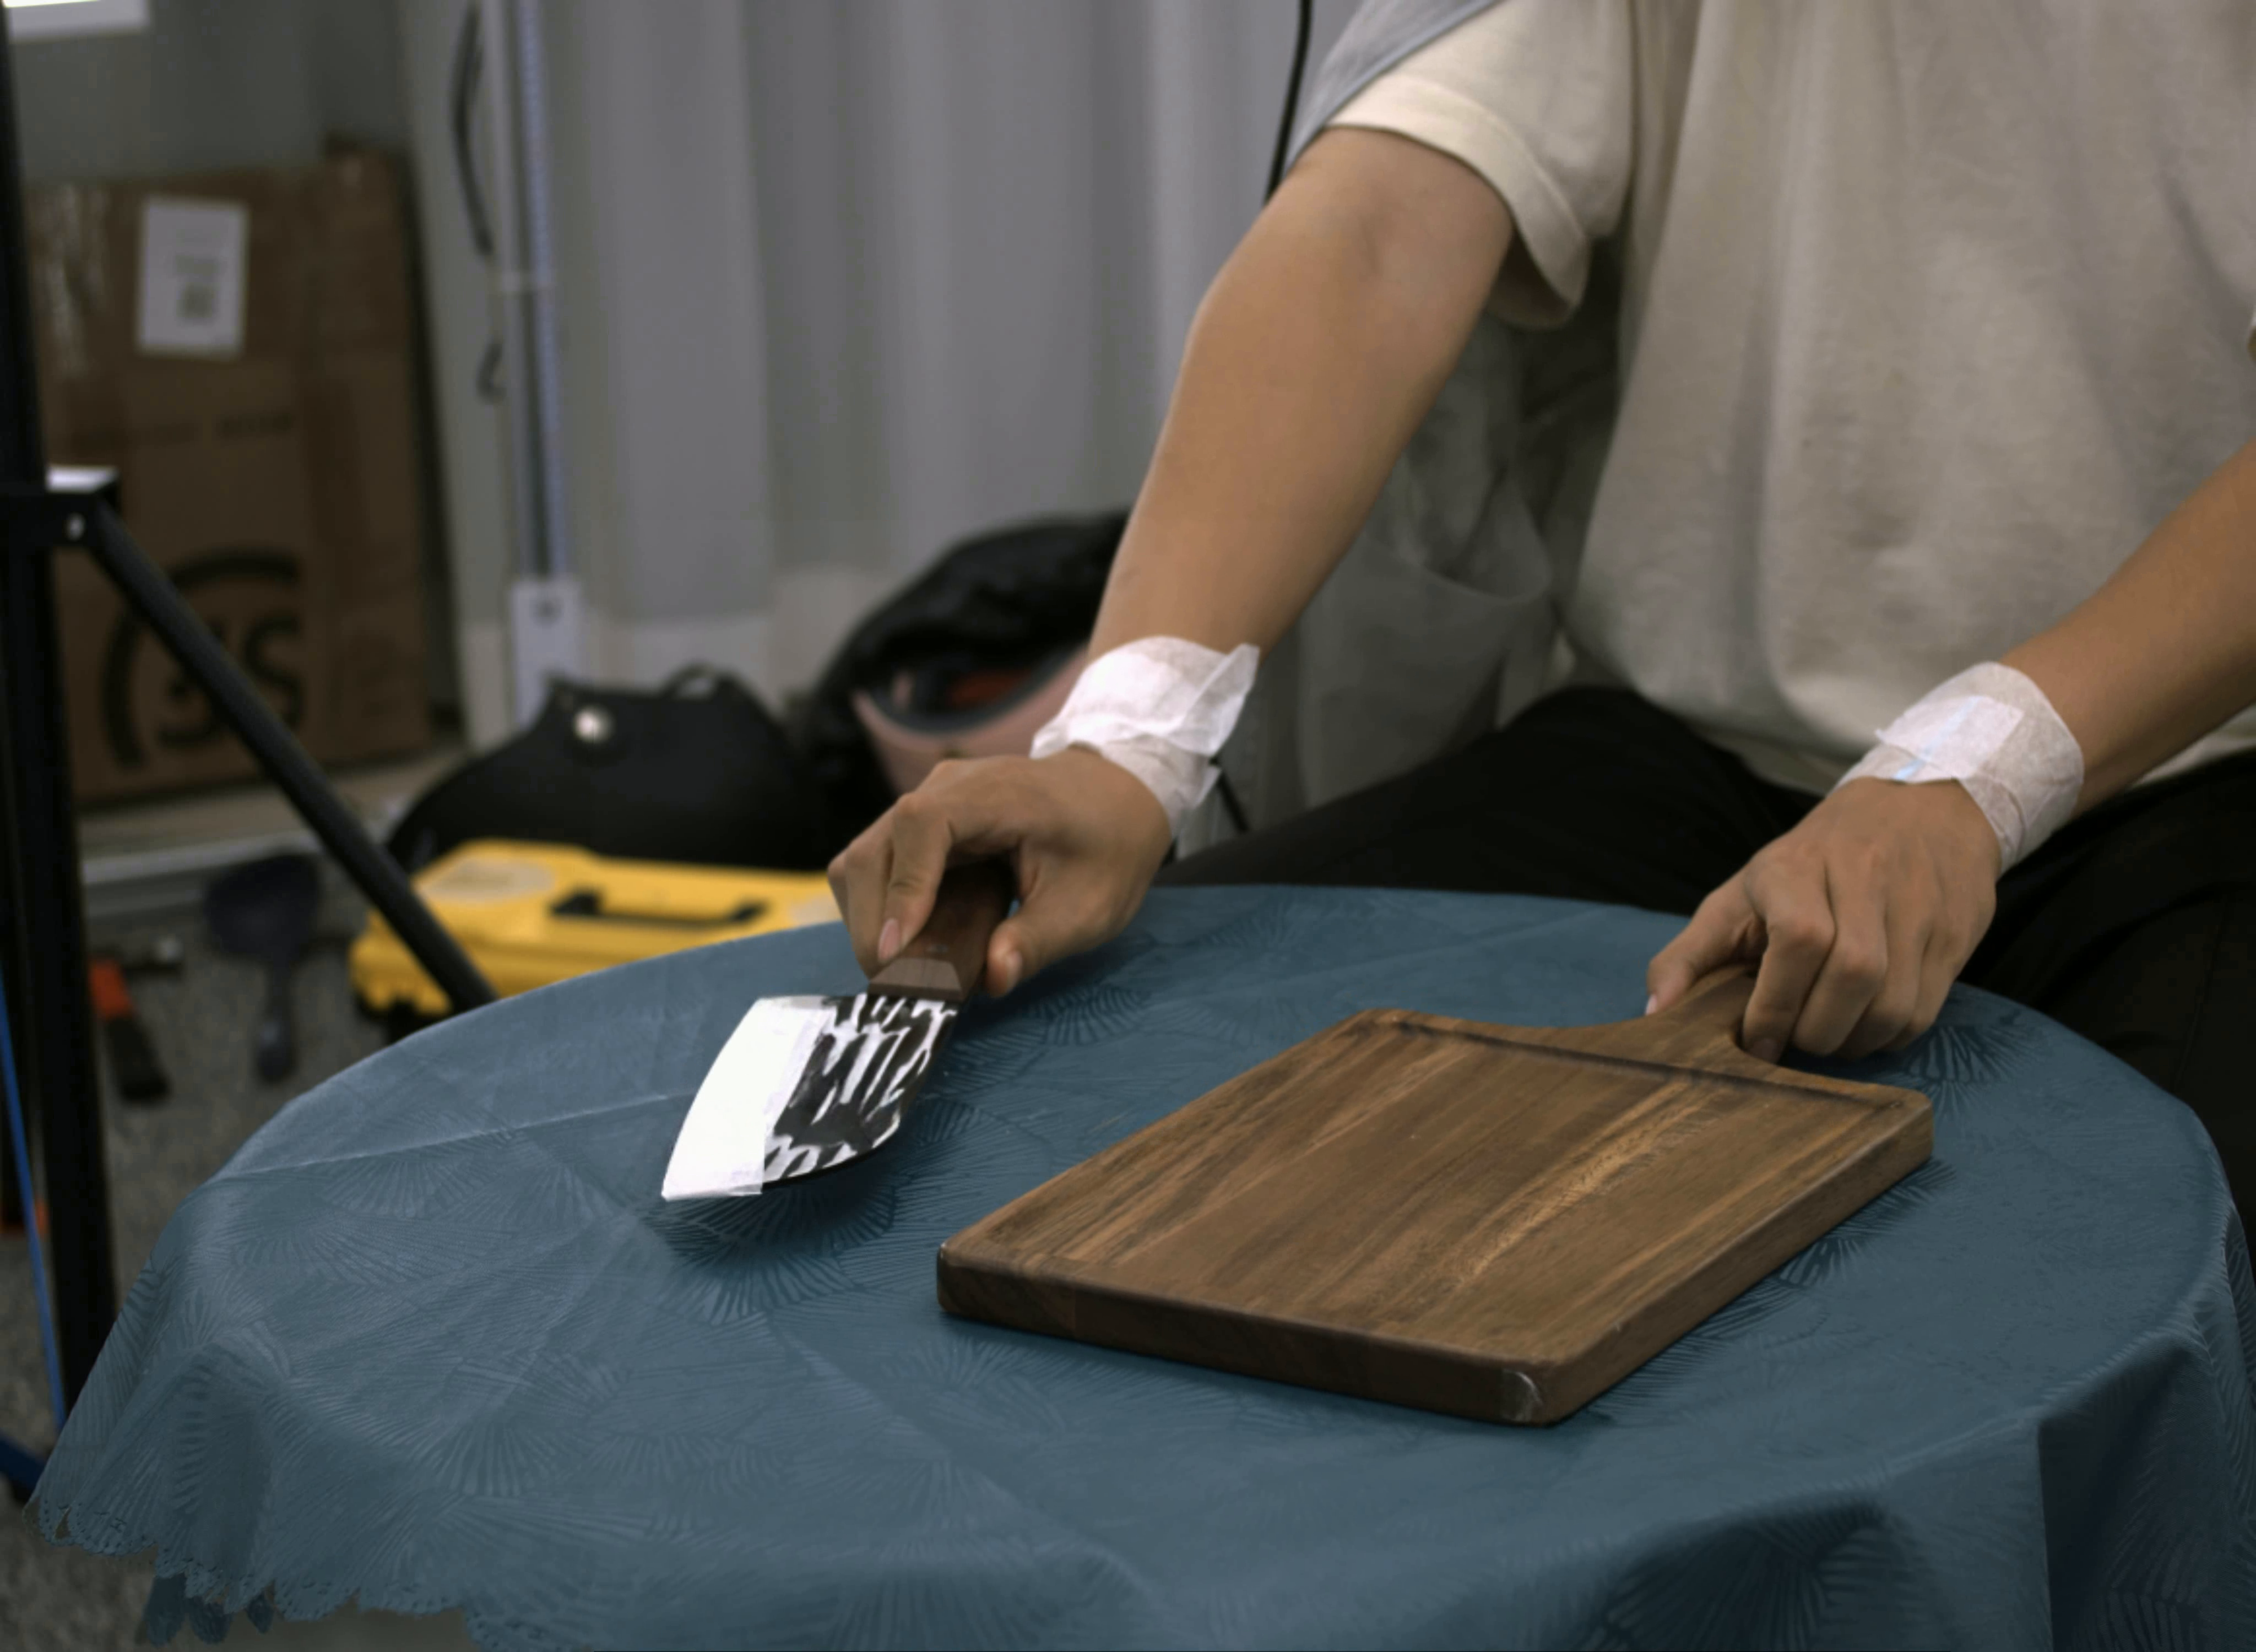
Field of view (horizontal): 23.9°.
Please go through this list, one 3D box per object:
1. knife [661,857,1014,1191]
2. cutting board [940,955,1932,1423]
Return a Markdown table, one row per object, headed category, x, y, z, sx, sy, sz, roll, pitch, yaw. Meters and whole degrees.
| category | x | y | z | sx | sy | sz | roll | pitch | yaw |
| --- | --- | --- | --- | --- | --- | --- | --- | --- | --- |
| knife | -0.087 | 0.062 | 1.647 | 0.068 | 0.024 | 0.298 | 1 | 17 | 9 |
| cutting board | 0.118 | 0.094 | 1.548 | 0.205 | 0.023 | 0.345 | 7 | 18 | 31 |
